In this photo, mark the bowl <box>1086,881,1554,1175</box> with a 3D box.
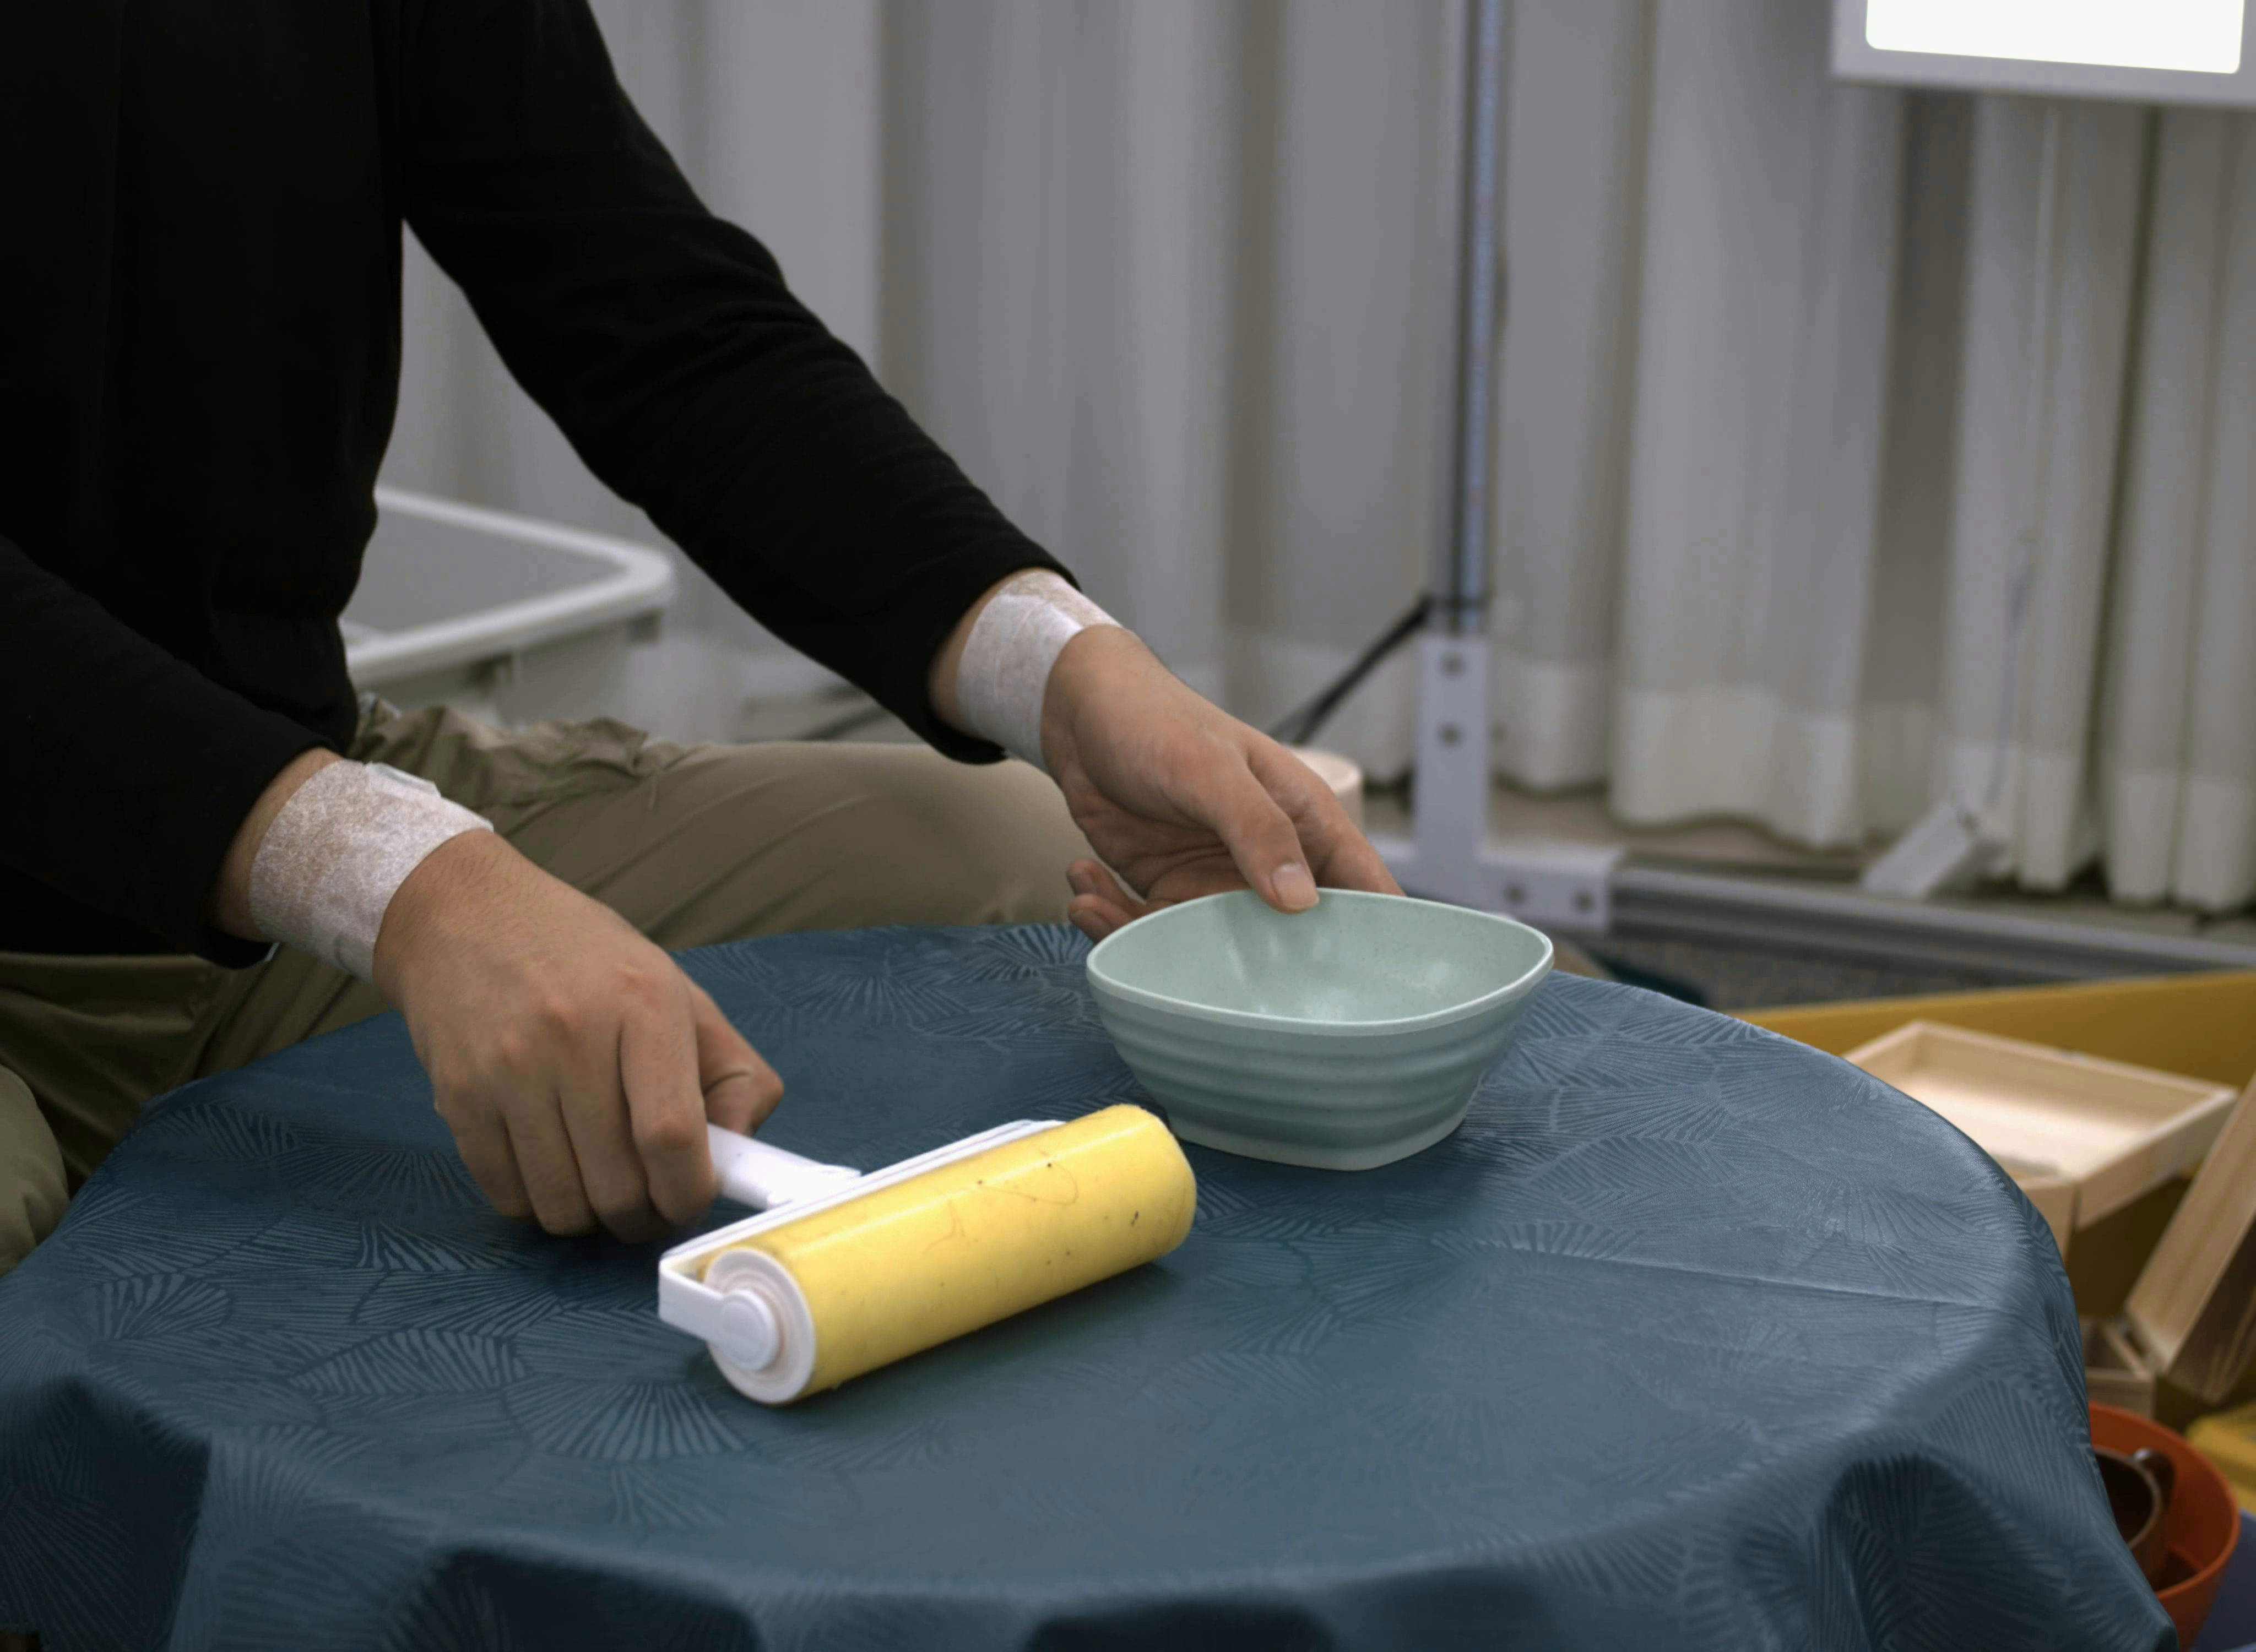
[{"bbox_3d":[0.061,0.067,1.678,0.151,0.059,0.150,2,17,0],"label":"bowl"}]

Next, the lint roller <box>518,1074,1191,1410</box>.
[{"bbox_3d":[-0.105,0.097,1.537,0.189,0.052,0.175,27,28,32],"label":"lint roller"}]
